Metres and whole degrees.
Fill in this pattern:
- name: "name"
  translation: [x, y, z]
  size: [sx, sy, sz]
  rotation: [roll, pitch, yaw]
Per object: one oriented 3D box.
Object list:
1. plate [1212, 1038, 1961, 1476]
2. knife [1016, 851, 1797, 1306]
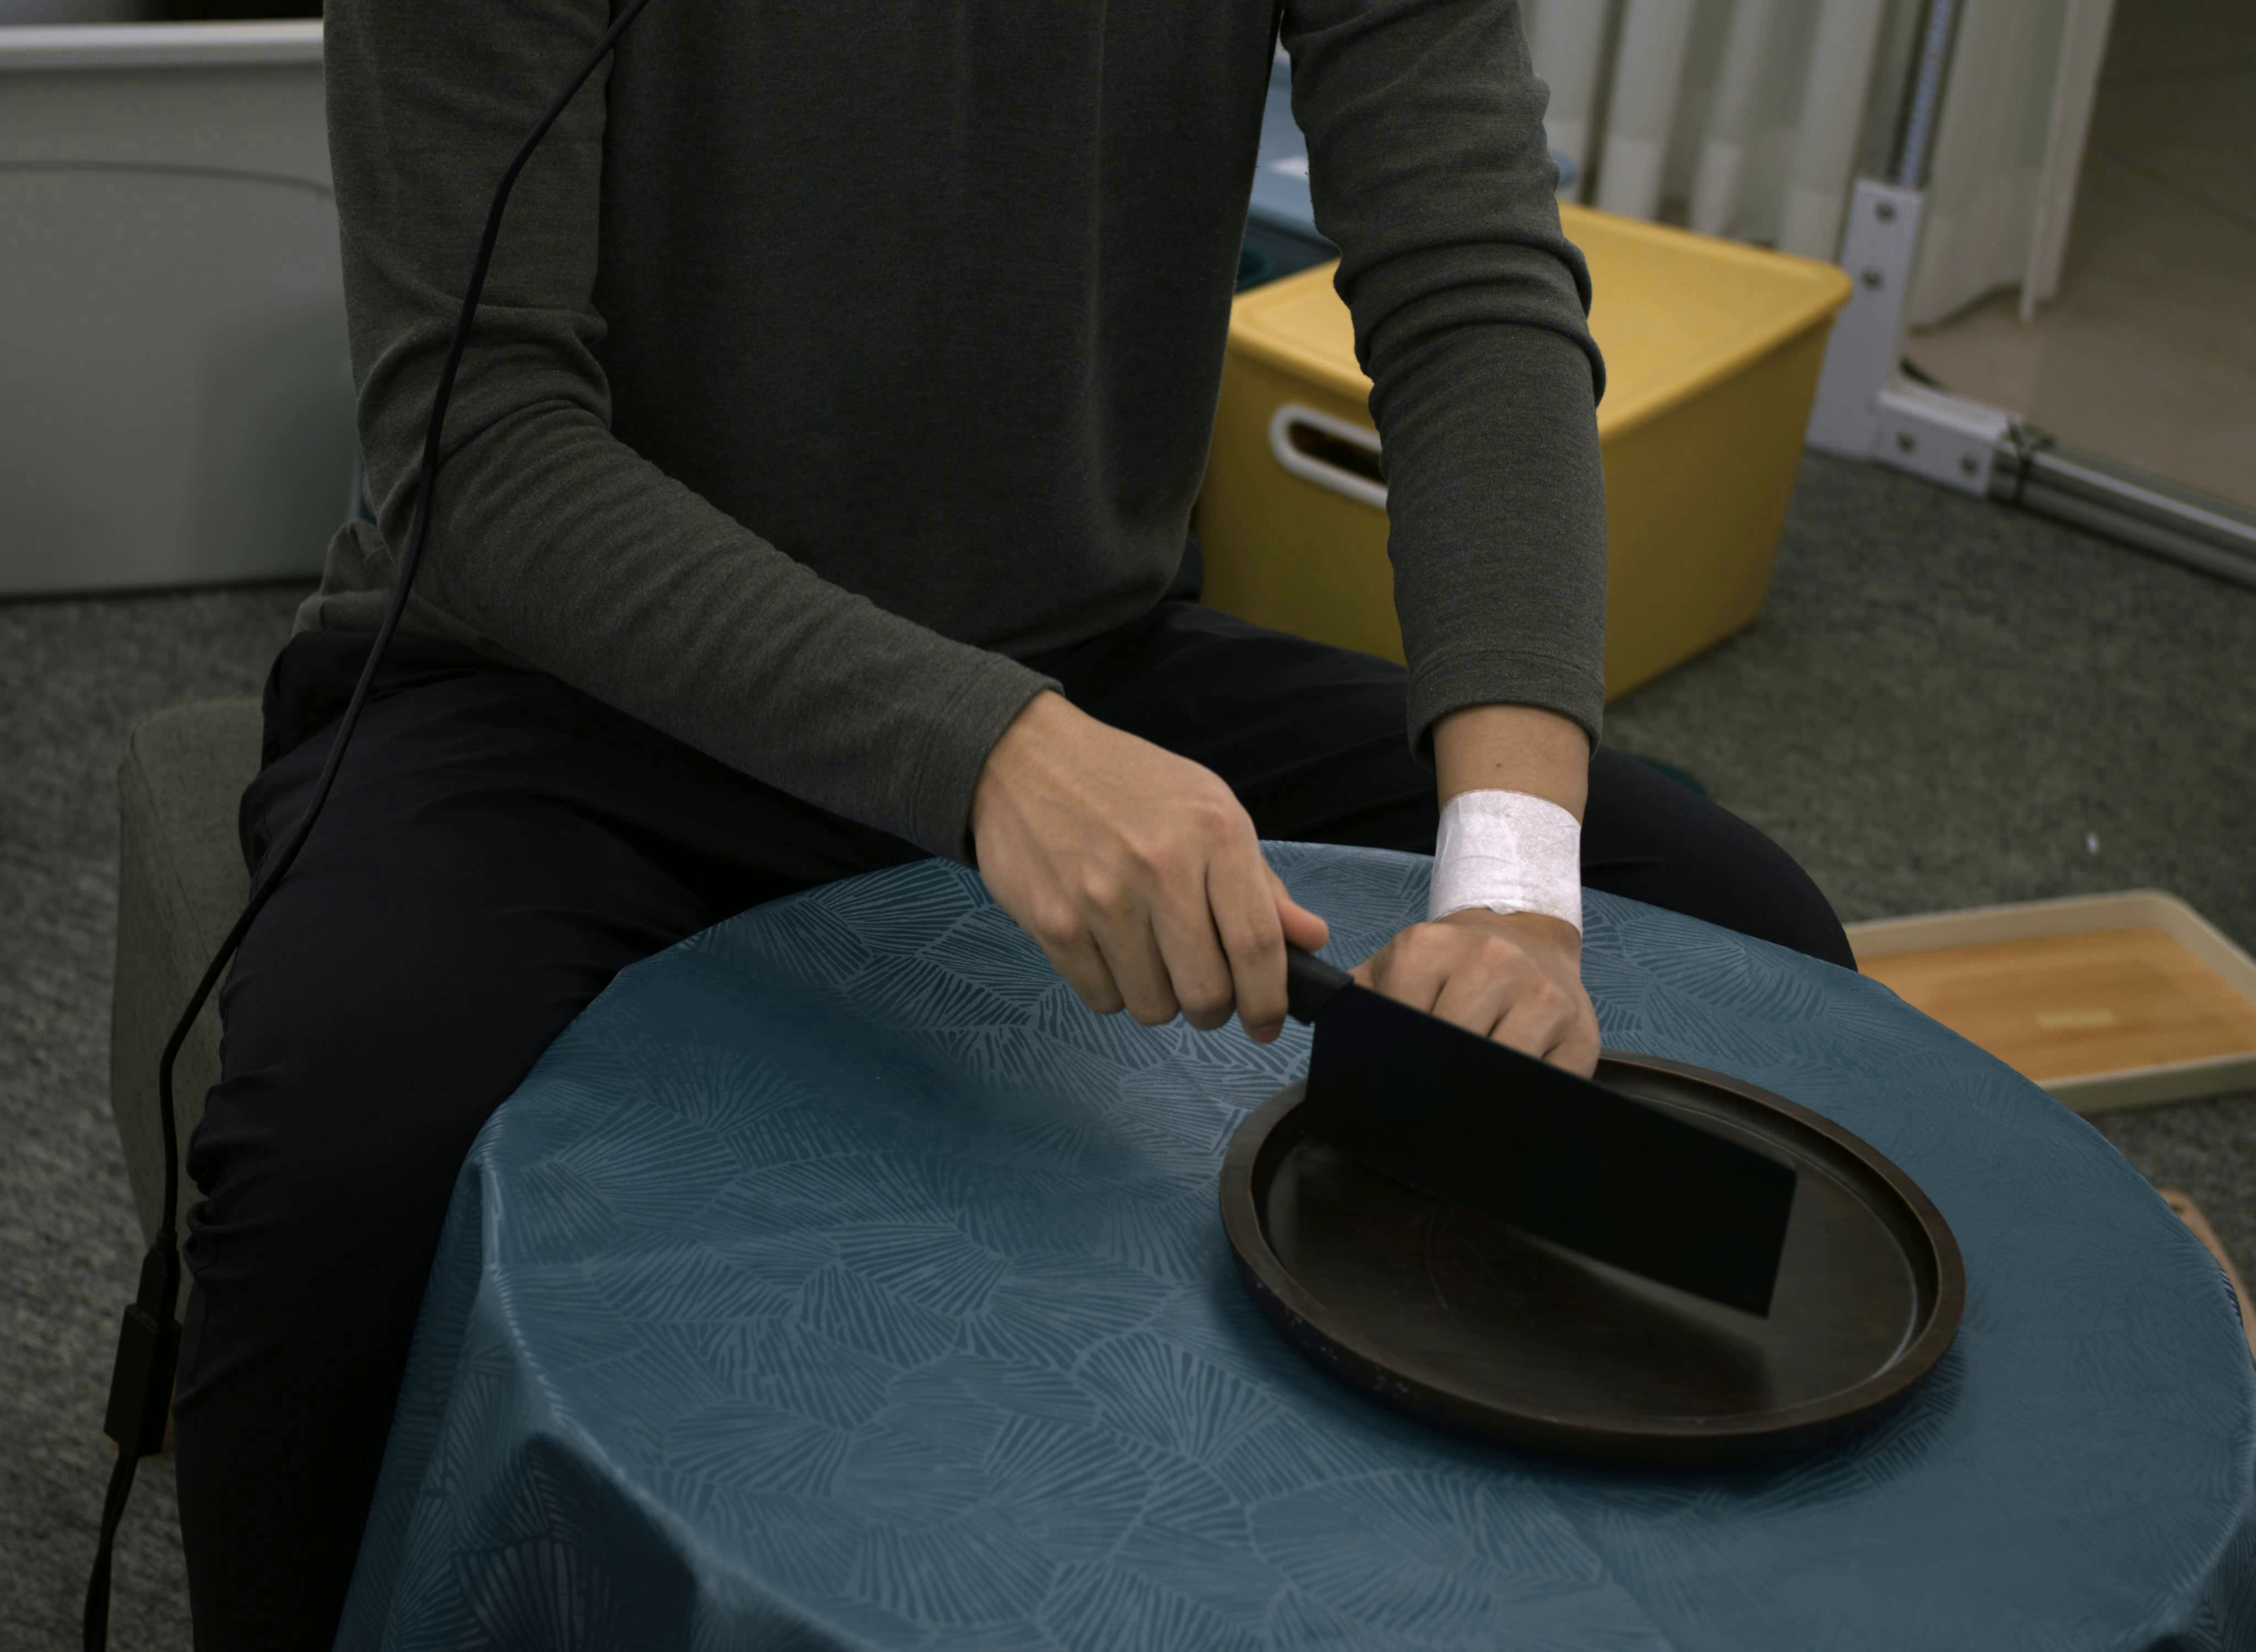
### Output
- name: "plate"
  translation: [0.152, 0.142, 1.780]
  size: [0.254, 0.029, 0.256]
  rotation: [4, 27, -3]
- name: "knife"
  translation: [0.089, 0.080, 1.786]
  size: [0.304, 0.080, 0.021]
  rotation: [26, 32, 25]
